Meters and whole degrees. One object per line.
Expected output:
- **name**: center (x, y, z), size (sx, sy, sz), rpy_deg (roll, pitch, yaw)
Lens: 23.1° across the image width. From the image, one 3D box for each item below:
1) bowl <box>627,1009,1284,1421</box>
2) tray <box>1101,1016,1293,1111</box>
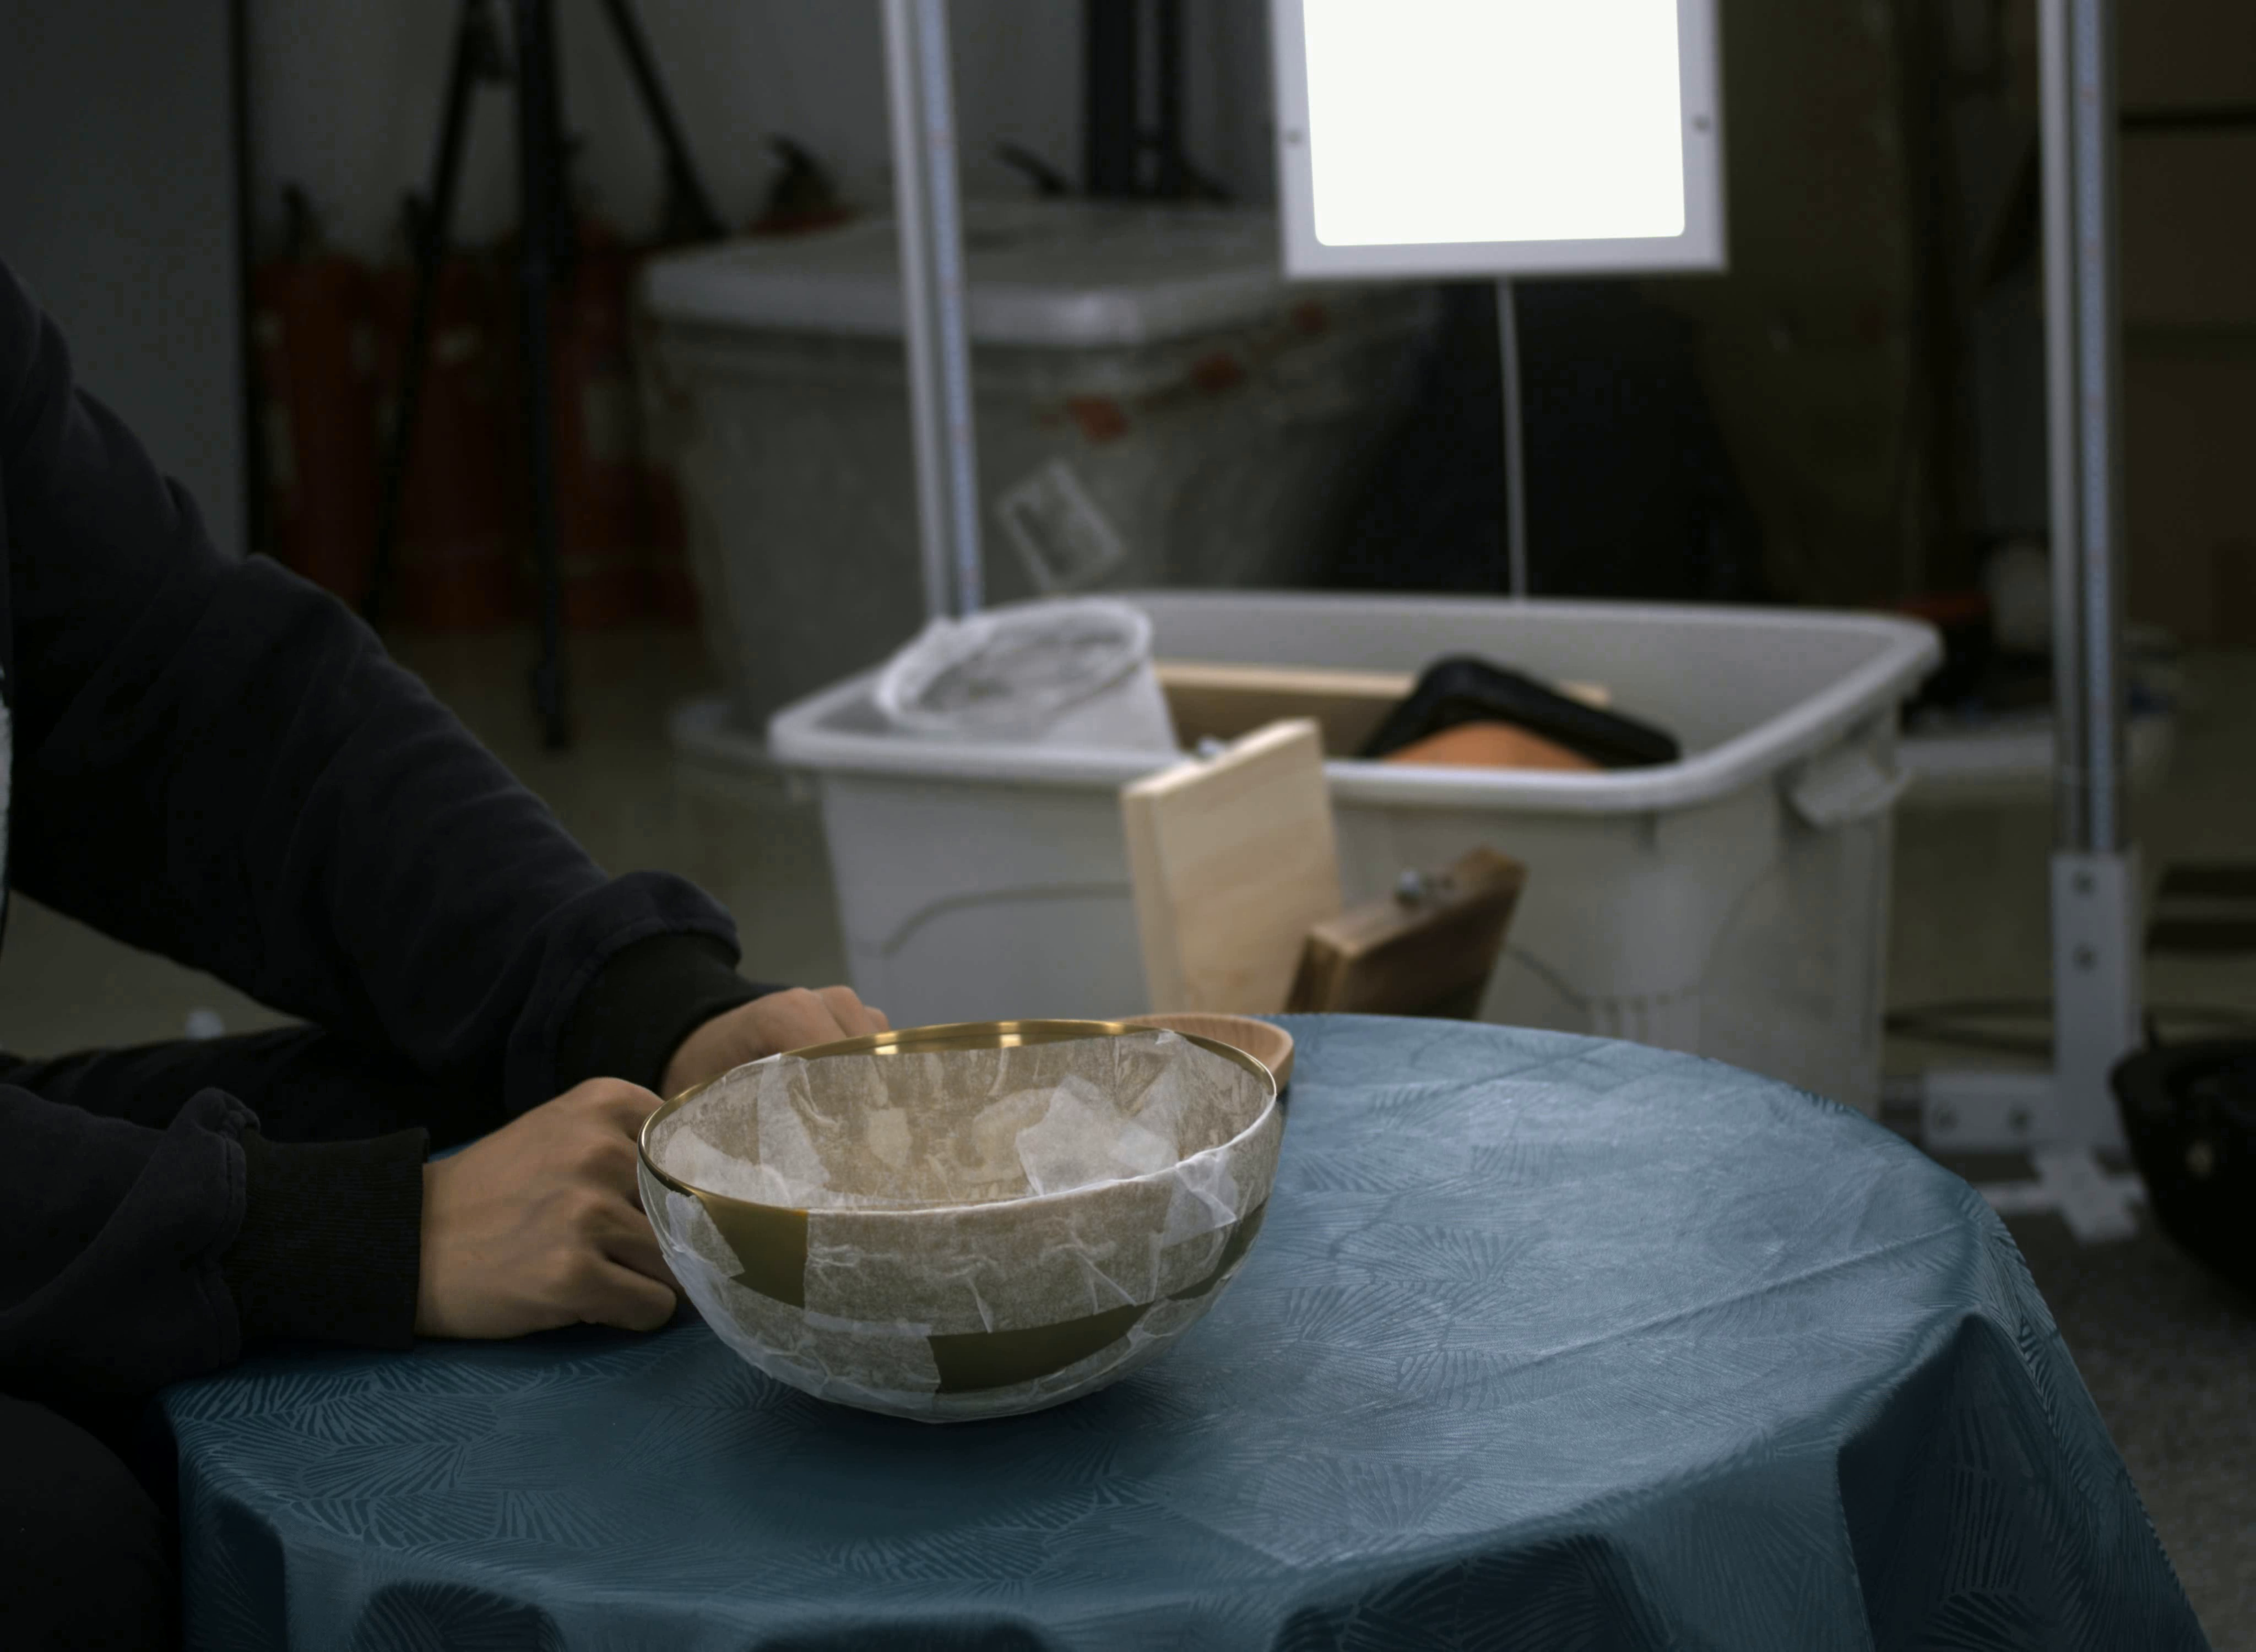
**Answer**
- **bowl**: center (-0.049, 0.128, 1.713), size (0.214, 0.095, 0.214), rpy_deg (-6, 15, 0)
- **tray**: center (-0.005, 0.107, 1.947), size (0.103, 0.020, 0.228), rpy_deg (-3, 15, 16)
